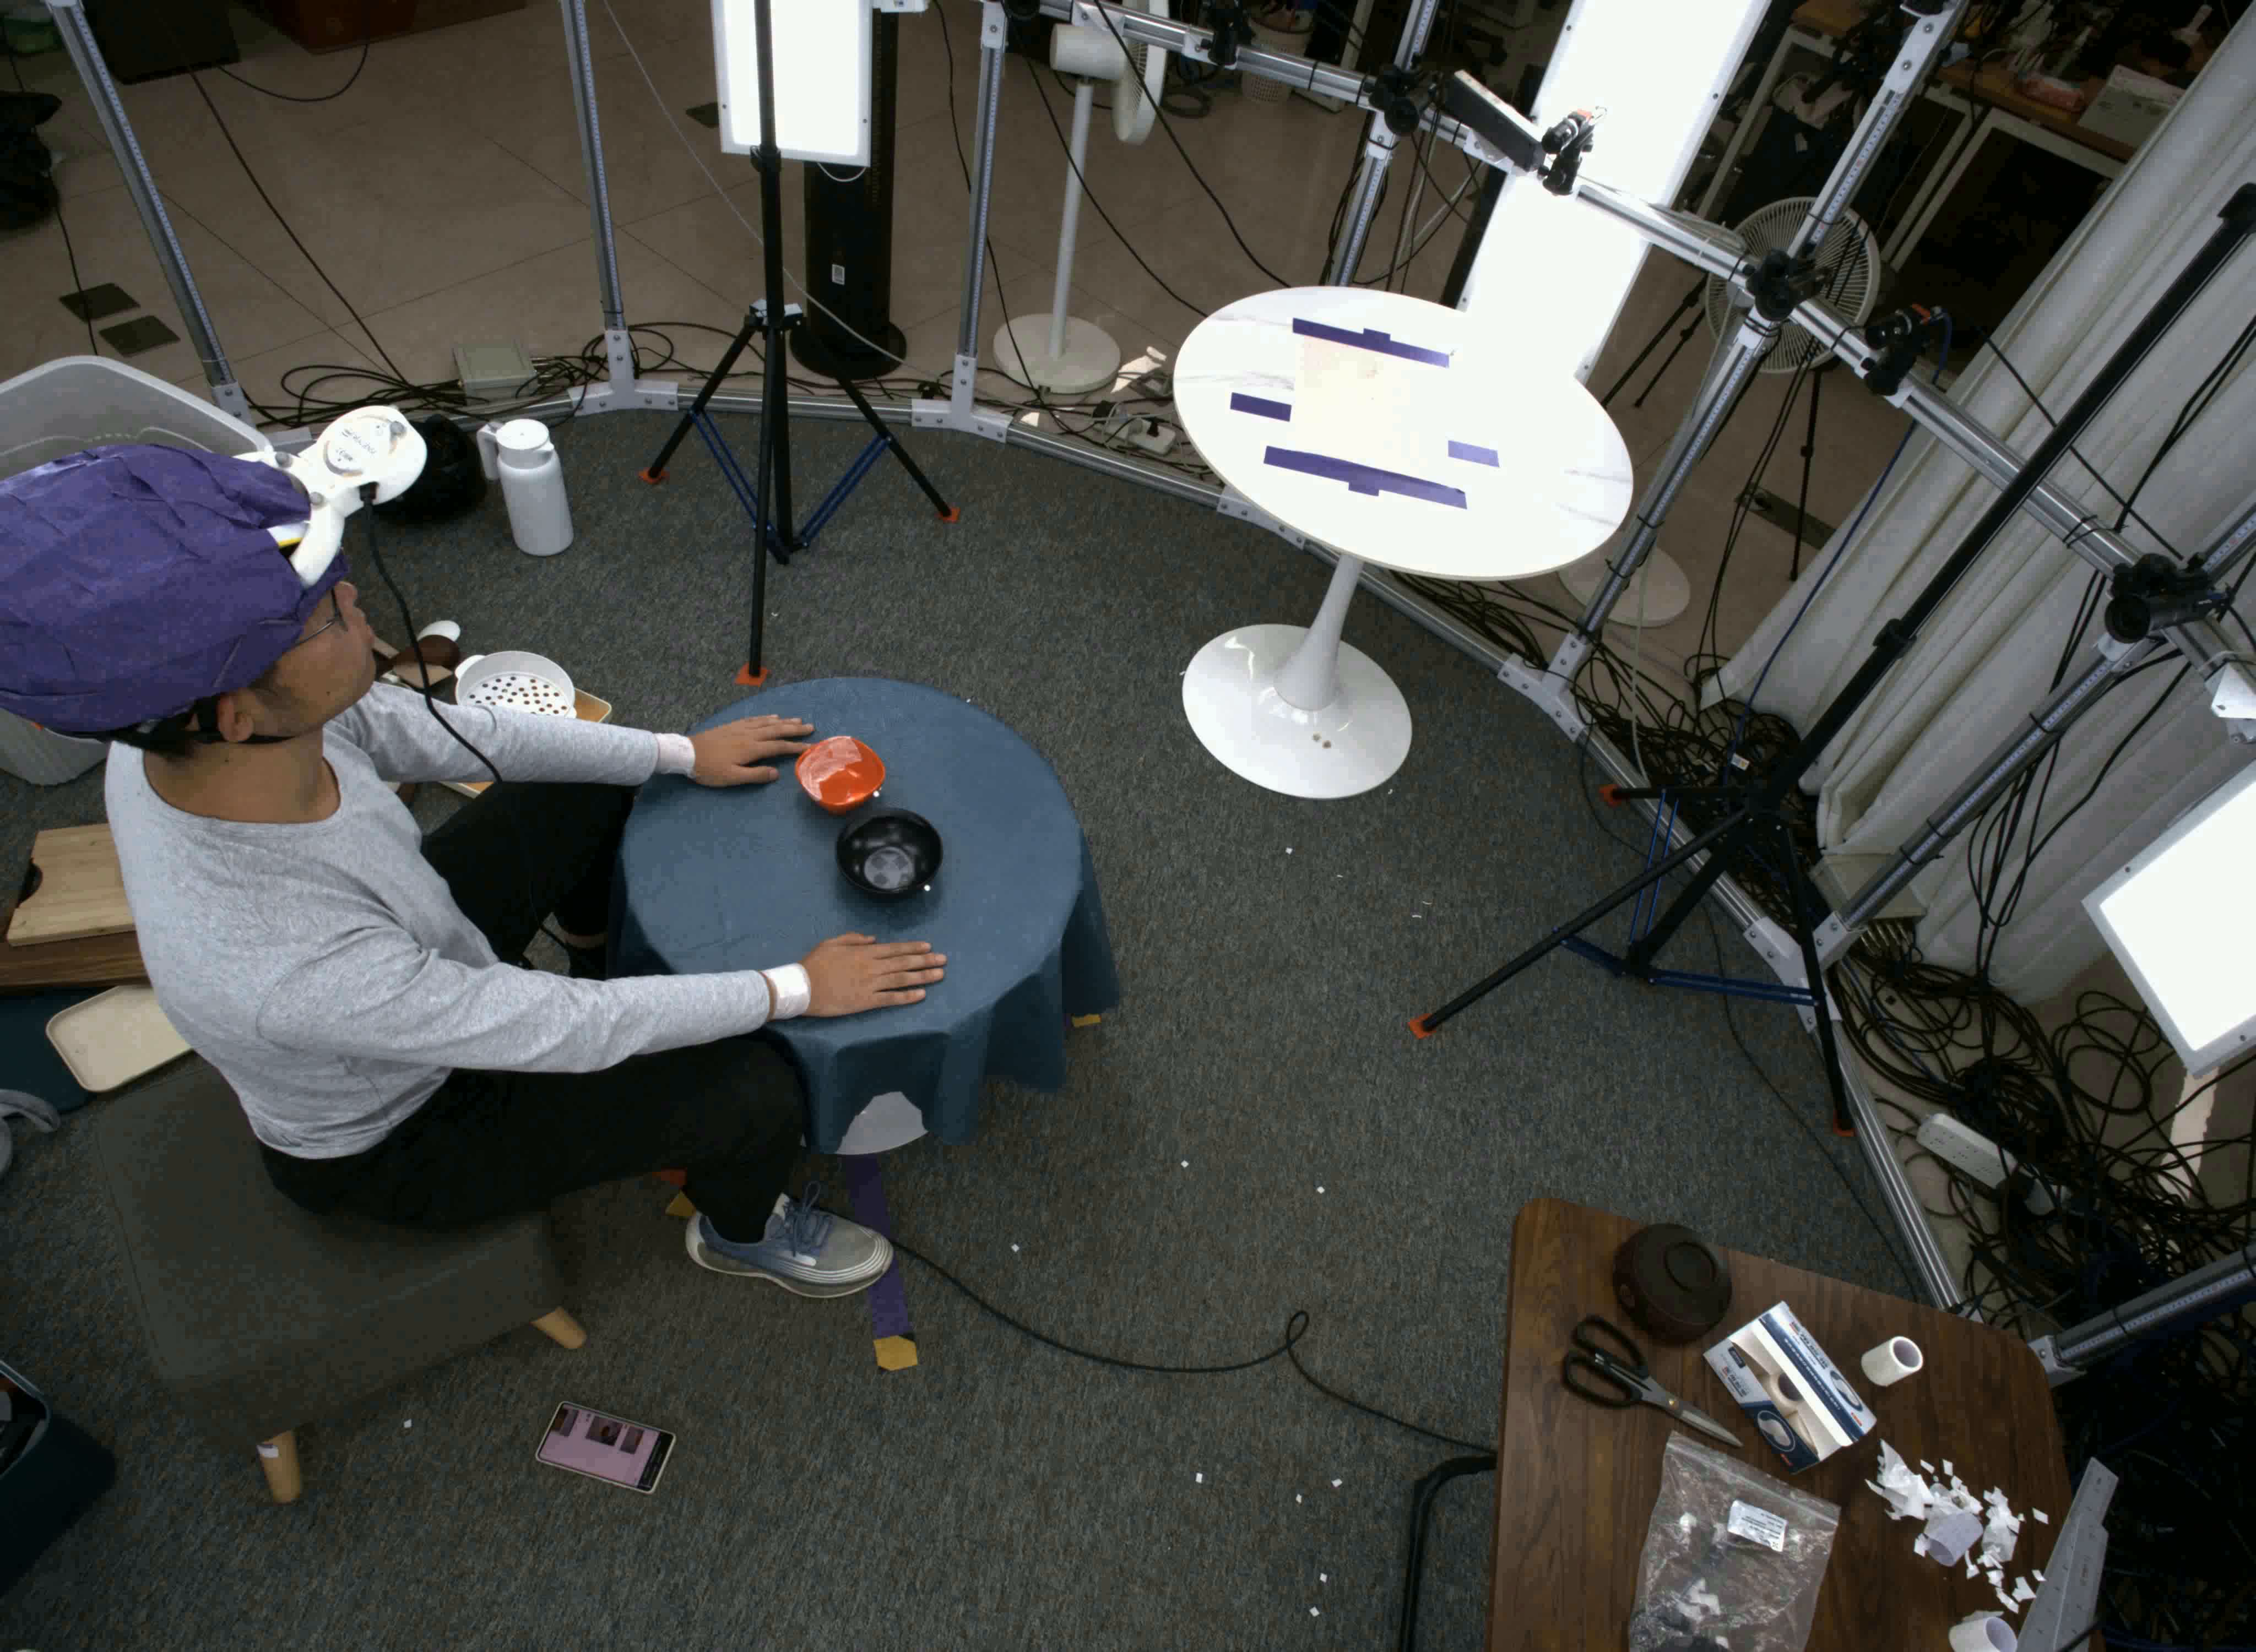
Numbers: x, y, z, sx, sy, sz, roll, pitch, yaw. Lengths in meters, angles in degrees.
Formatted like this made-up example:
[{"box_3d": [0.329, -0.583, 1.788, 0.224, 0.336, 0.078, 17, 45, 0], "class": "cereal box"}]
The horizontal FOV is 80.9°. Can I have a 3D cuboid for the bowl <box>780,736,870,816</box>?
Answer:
[{"box_3d": [-0.409, -0.060, 1.749, 0.119, 0.052, 0.117, 9, 52, -10], "class": "bowl"}]

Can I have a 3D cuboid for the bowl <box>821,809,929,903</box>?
[{"box_3d": [-0.329, 0.047, 1.695, 0.139, 0.051, 0.137, 6, 54, -6], "class": "bowl"}]
